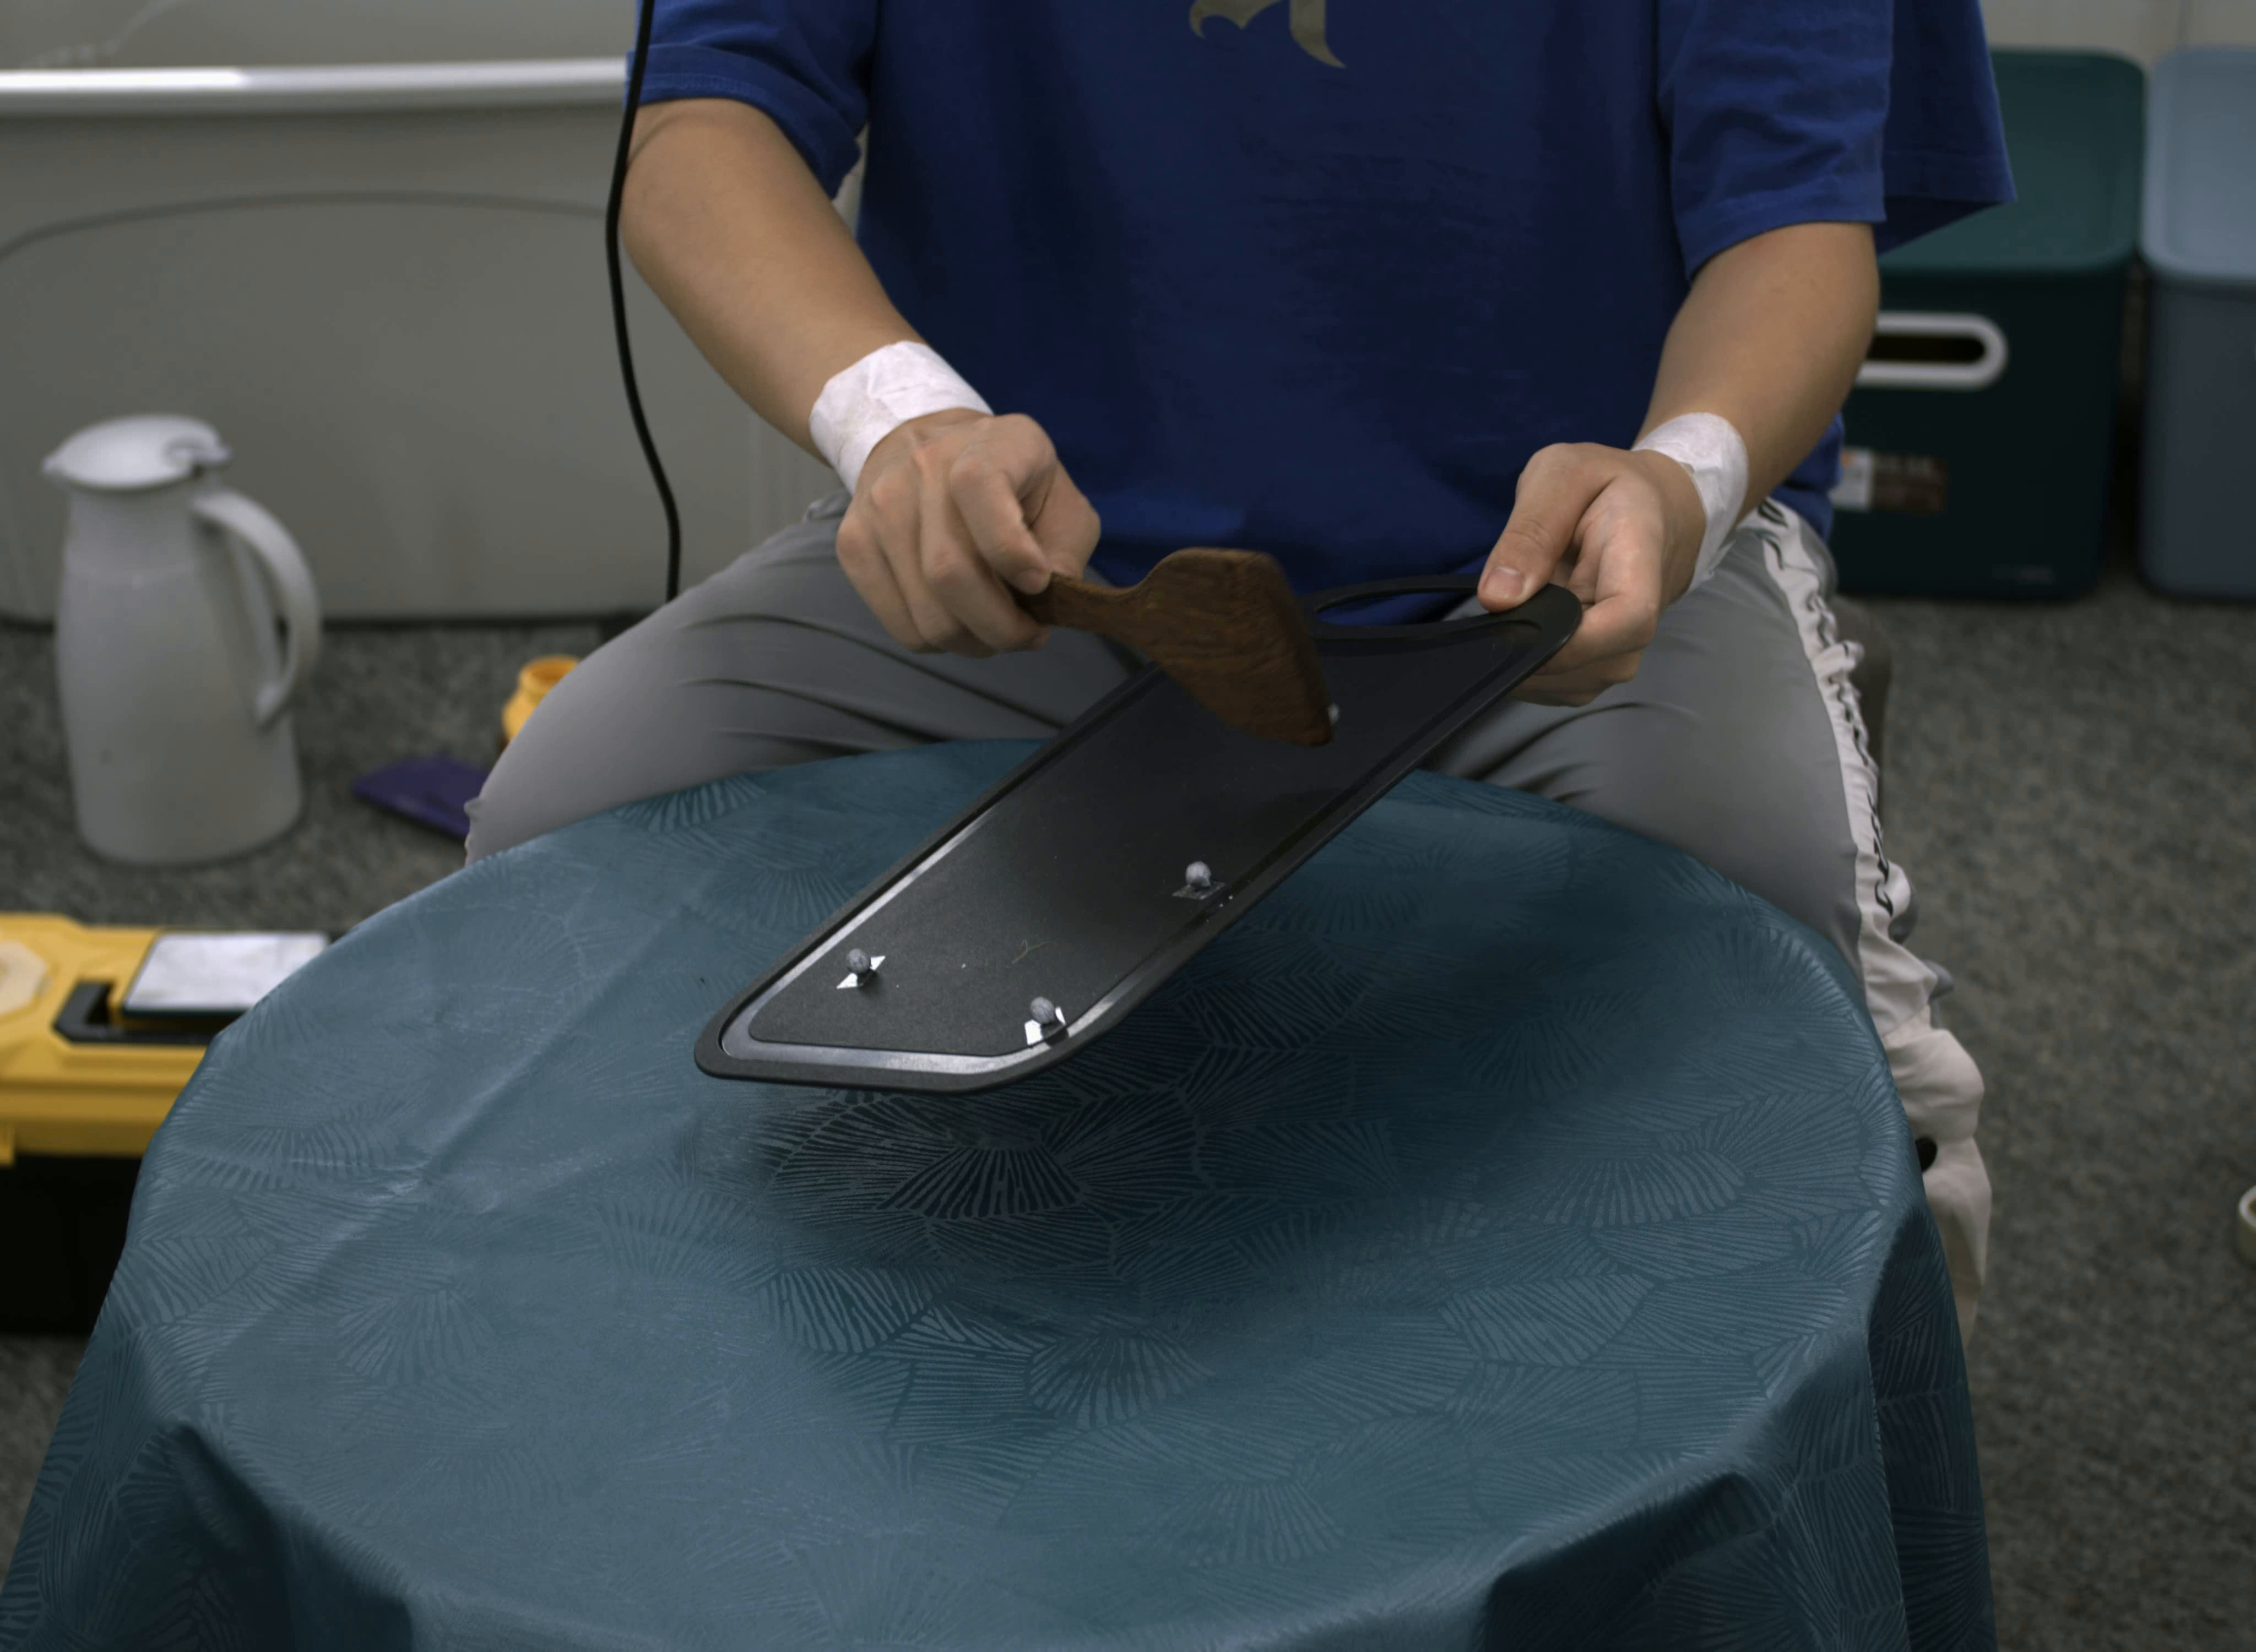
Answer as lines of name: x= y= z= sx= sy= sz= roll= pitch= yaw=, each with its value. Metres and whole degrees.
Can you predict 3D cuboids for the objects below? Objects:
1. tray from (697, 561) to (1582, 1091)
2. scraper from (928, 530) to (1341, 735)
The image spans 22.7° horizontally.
tray: x=0.009 y=-0.006 z=1.898 sx=0.330 sy=0.010 sz=0.209 roll=-39 pitch=24 yaw=-33
scraper: x=-0.004 y=-0.075 z=1.913 sx=0.011 sy=0.075 sz=0.210 roll=-35 pitch=28 yaw=-27
